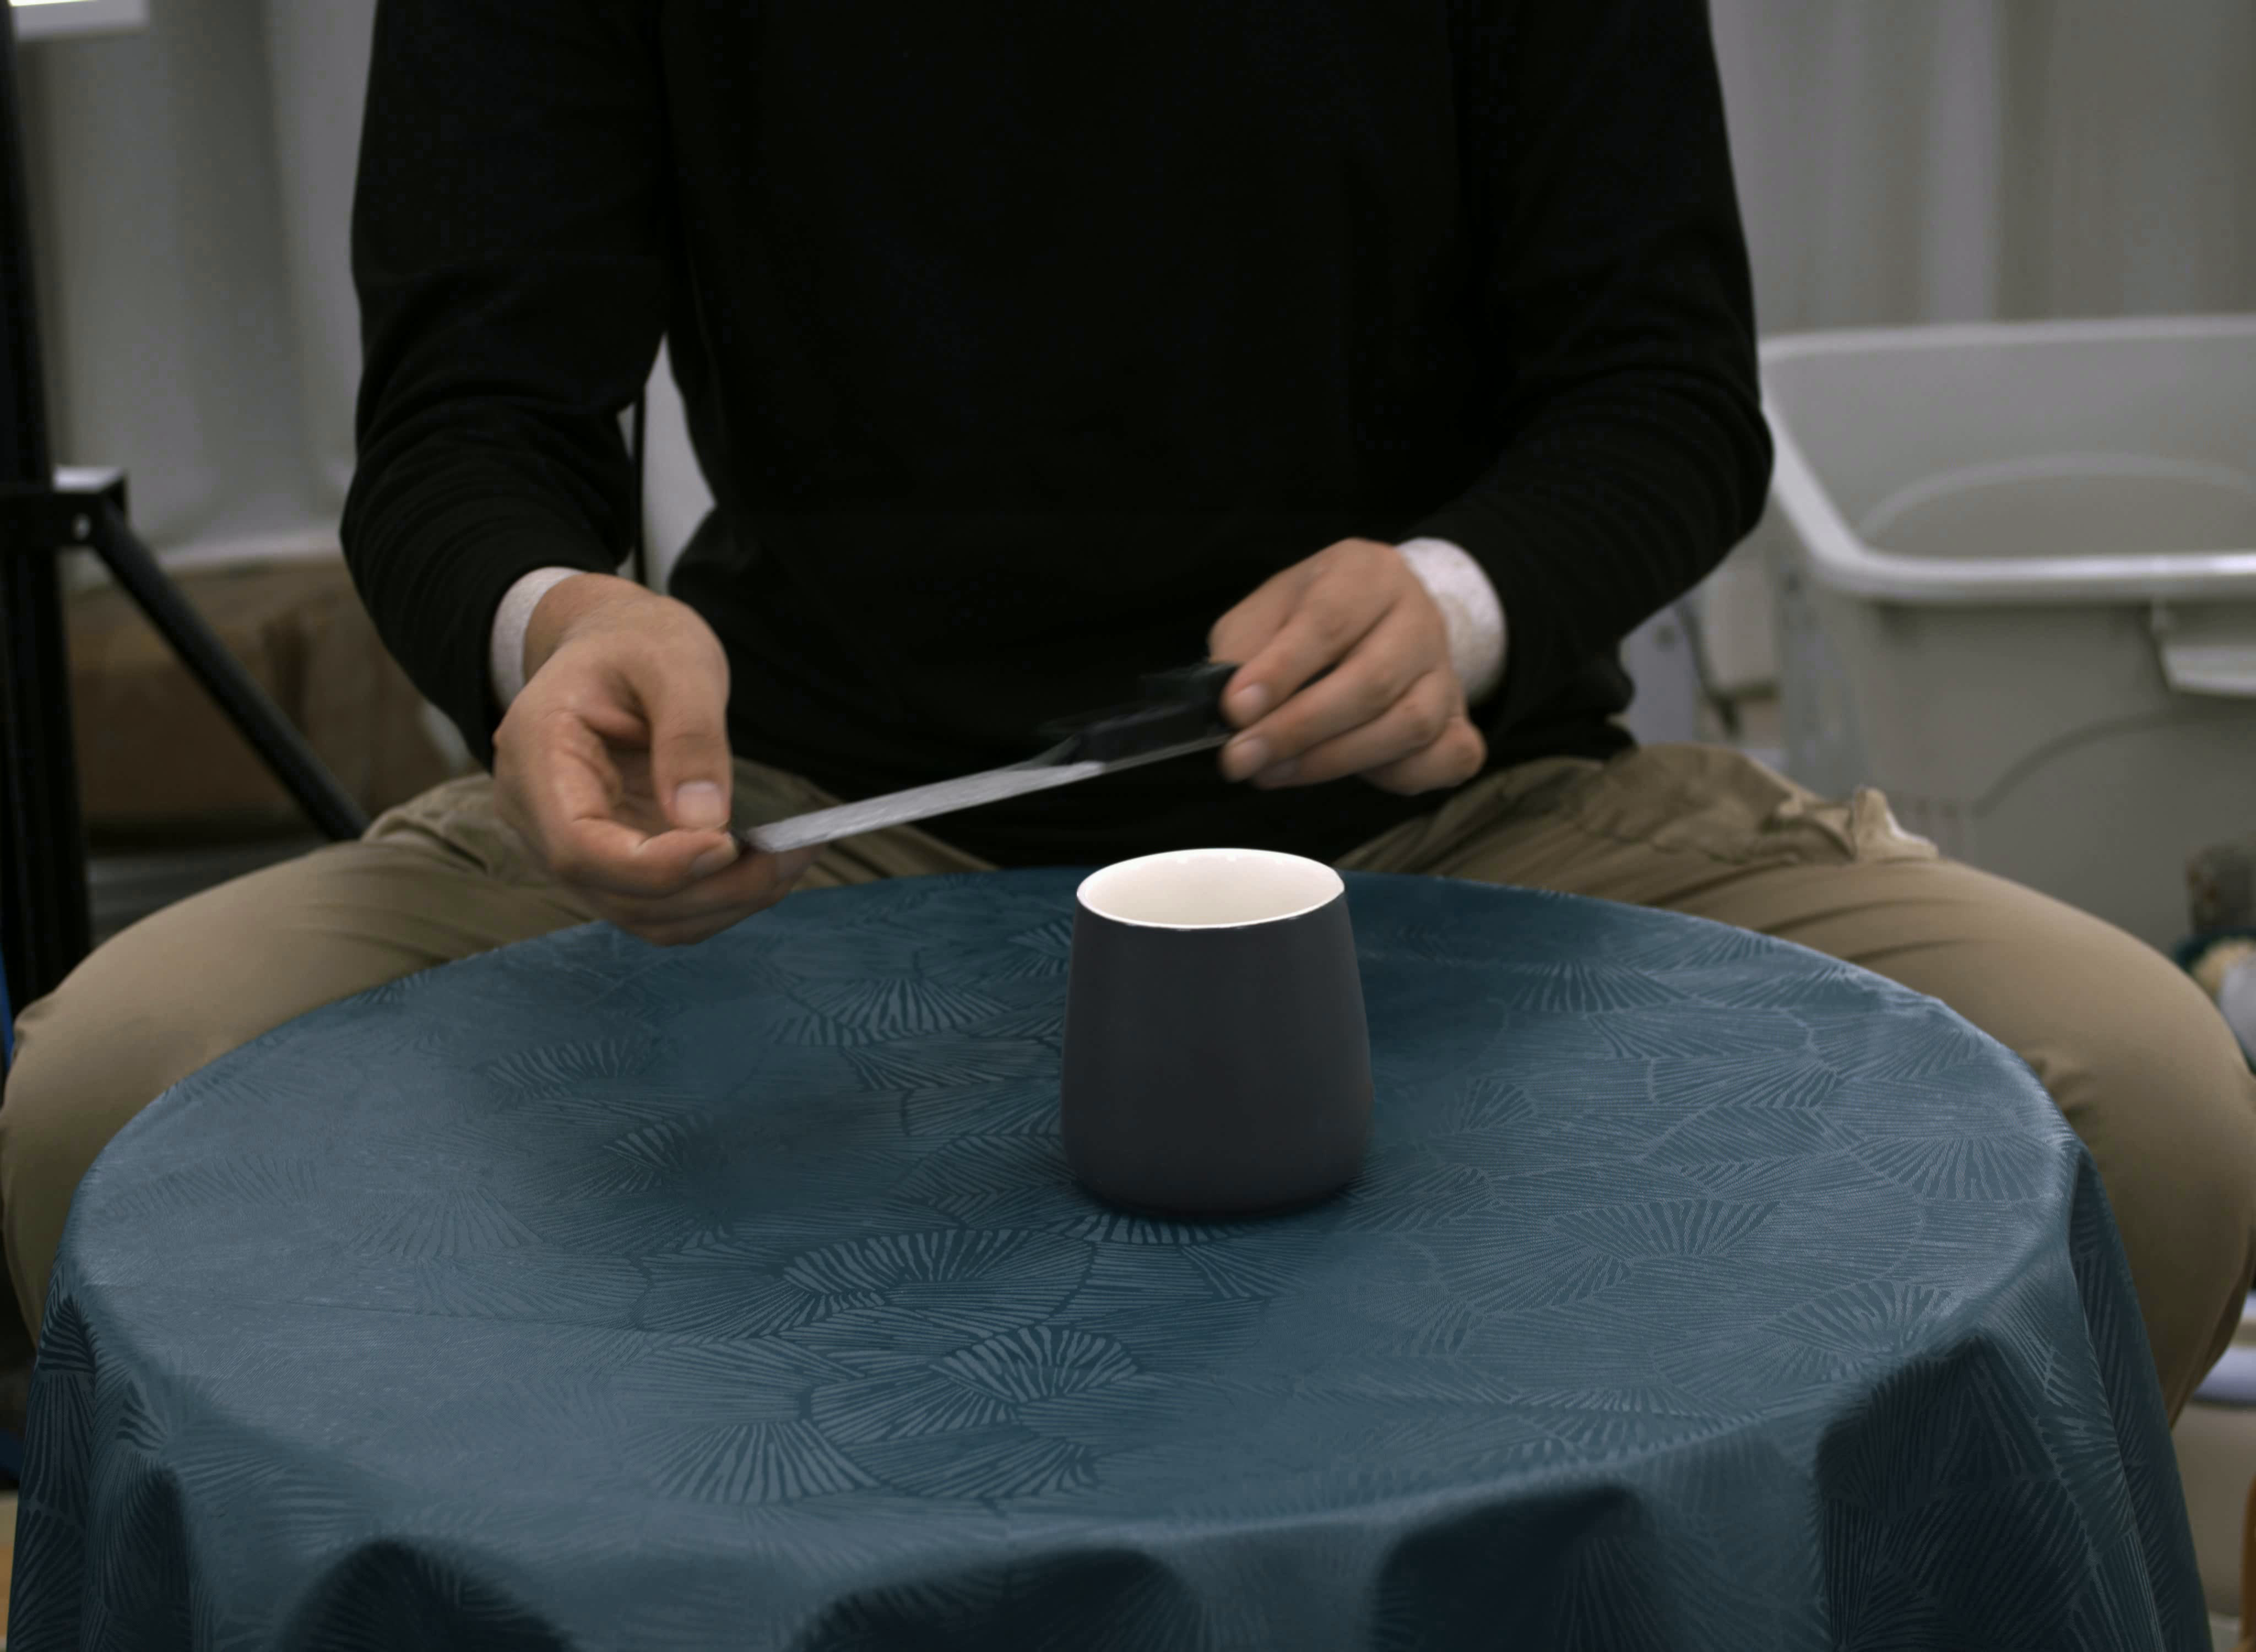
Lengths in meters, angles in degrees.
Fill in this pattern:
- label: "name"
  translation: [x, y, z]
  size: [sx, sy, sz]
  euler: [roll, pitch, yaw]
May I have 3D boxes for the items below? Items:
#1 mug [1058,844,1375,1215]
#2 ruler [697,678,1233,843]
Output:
- label: "mug"
  translation: [0.027, 0.055, 1.568]
  size: [0.093, 0.090, 0.123]
  euler: [0, 17, 5]
- label: "ruler"
  translation: [-0.044, -0.021, 1.608]
  size: [0.039, 0.024, 0.213]
  euler: [-7, 3, 42]
